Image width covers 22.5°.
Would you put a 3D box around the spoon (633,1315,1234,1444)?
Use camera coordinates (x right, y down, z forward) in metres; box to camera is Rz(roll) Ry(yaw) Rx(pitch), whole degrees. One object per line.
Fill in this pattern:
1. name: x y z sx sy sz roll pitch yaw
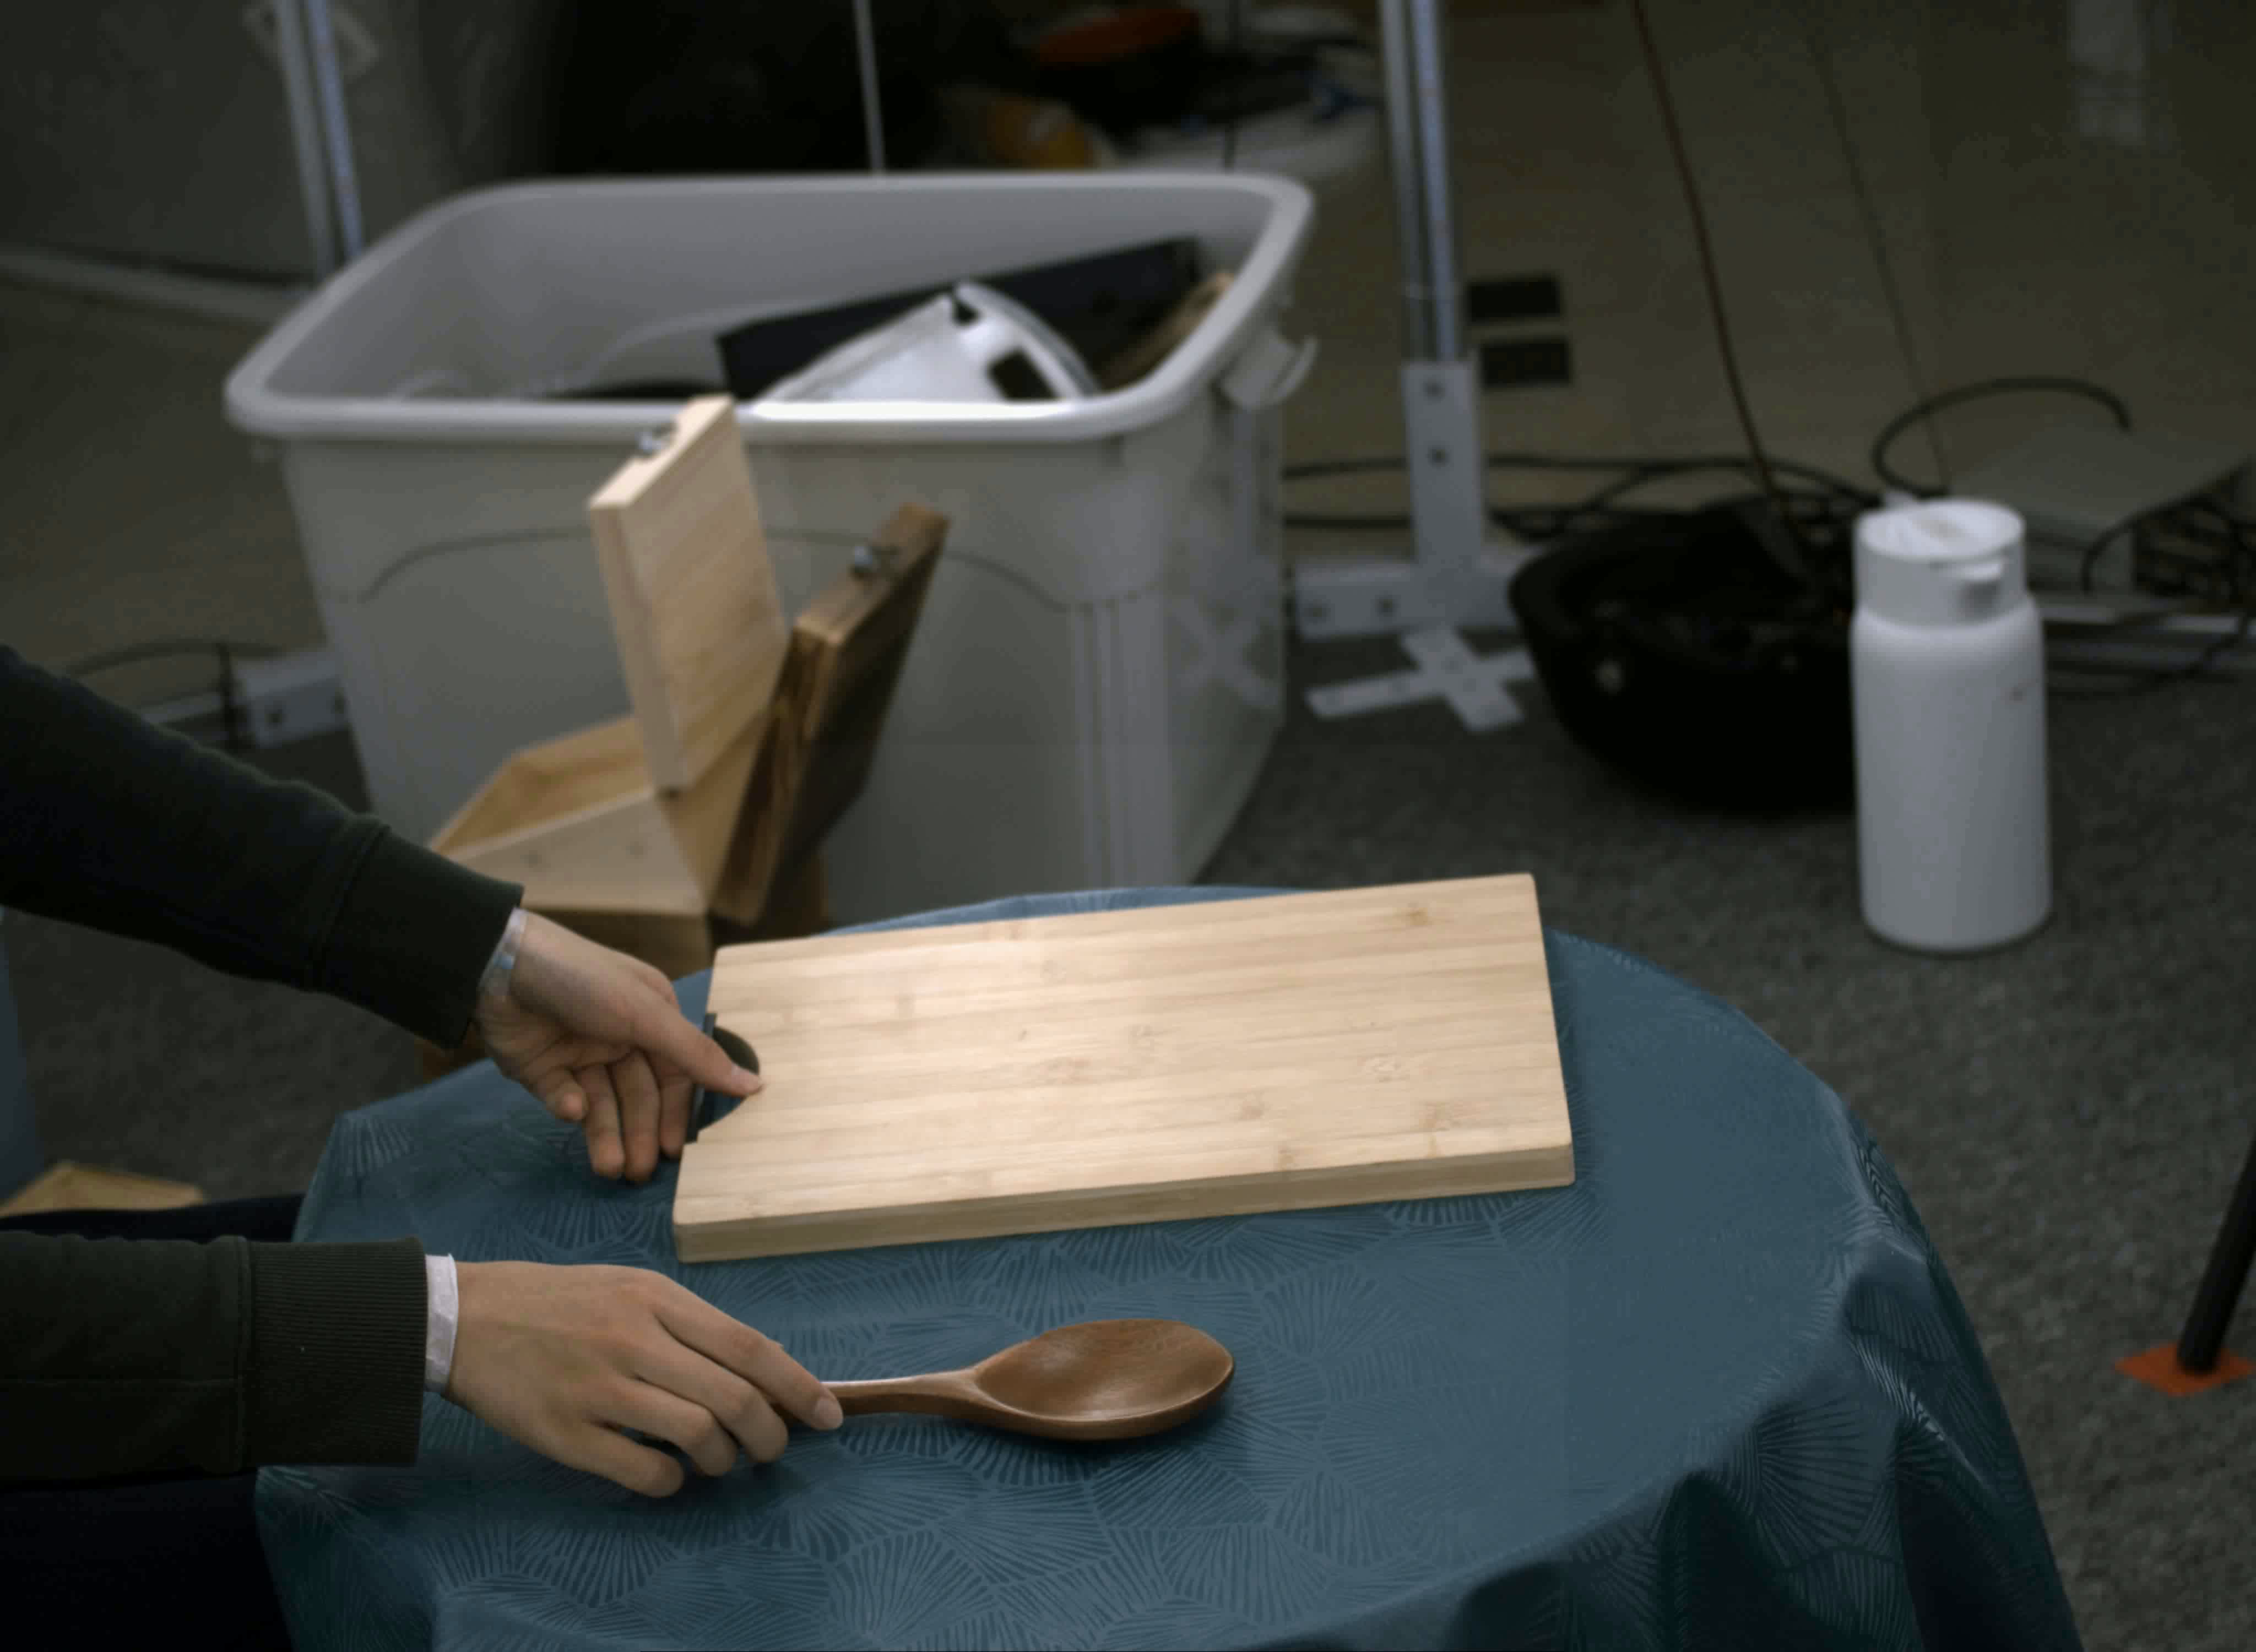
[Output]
1. spoon: -0.069 0.202 2.014 0.215 0.017 0.074 -3 27 6

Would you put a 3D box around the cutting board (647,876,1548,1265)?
1. cutting board: -0.008 0.094 2.233 0.348 0.024 0.247 -6 24 2
